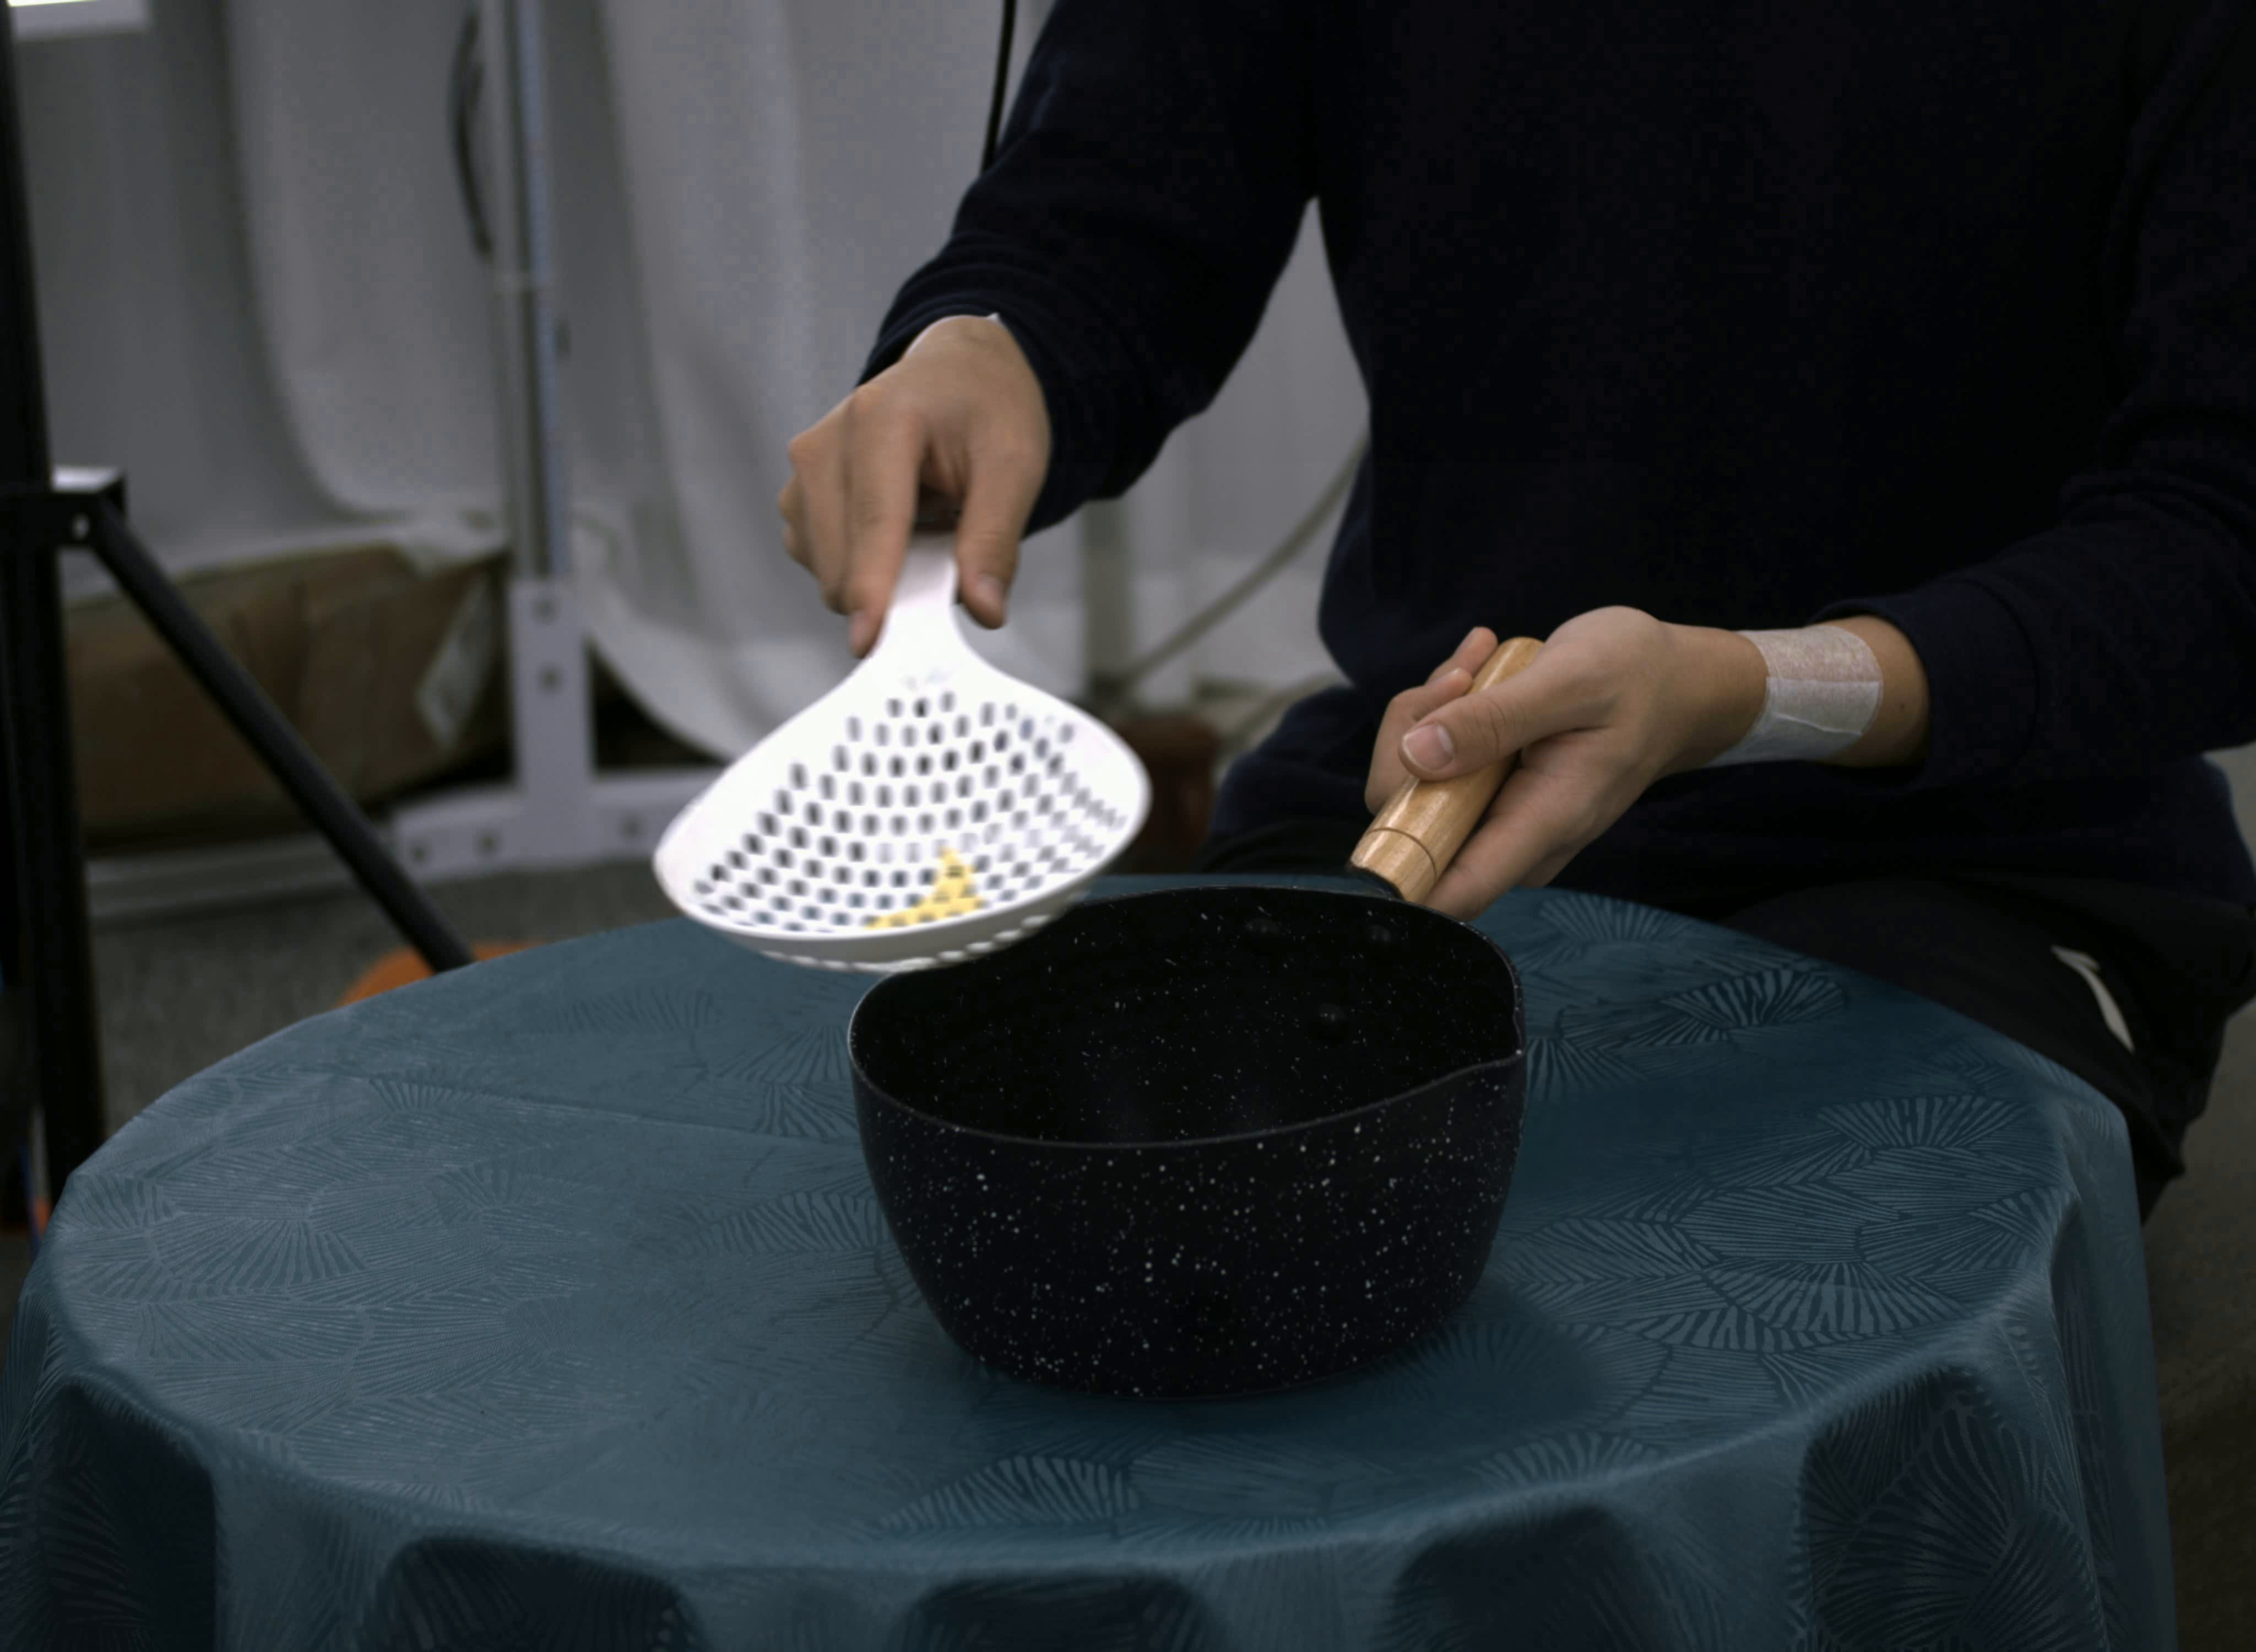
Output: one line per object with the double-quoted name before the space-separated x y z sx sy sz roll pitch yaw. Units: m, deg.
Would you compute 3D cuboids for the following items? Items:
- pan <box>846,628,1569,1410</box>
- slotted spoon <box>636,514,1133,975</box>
"pan" 0.052 0.050 1.511 0.211 0.108 0.338 3 23 27
"slotted spoon" -0.067 -0.038 1.548 0.136 0.050 0.351 -10 28 3
